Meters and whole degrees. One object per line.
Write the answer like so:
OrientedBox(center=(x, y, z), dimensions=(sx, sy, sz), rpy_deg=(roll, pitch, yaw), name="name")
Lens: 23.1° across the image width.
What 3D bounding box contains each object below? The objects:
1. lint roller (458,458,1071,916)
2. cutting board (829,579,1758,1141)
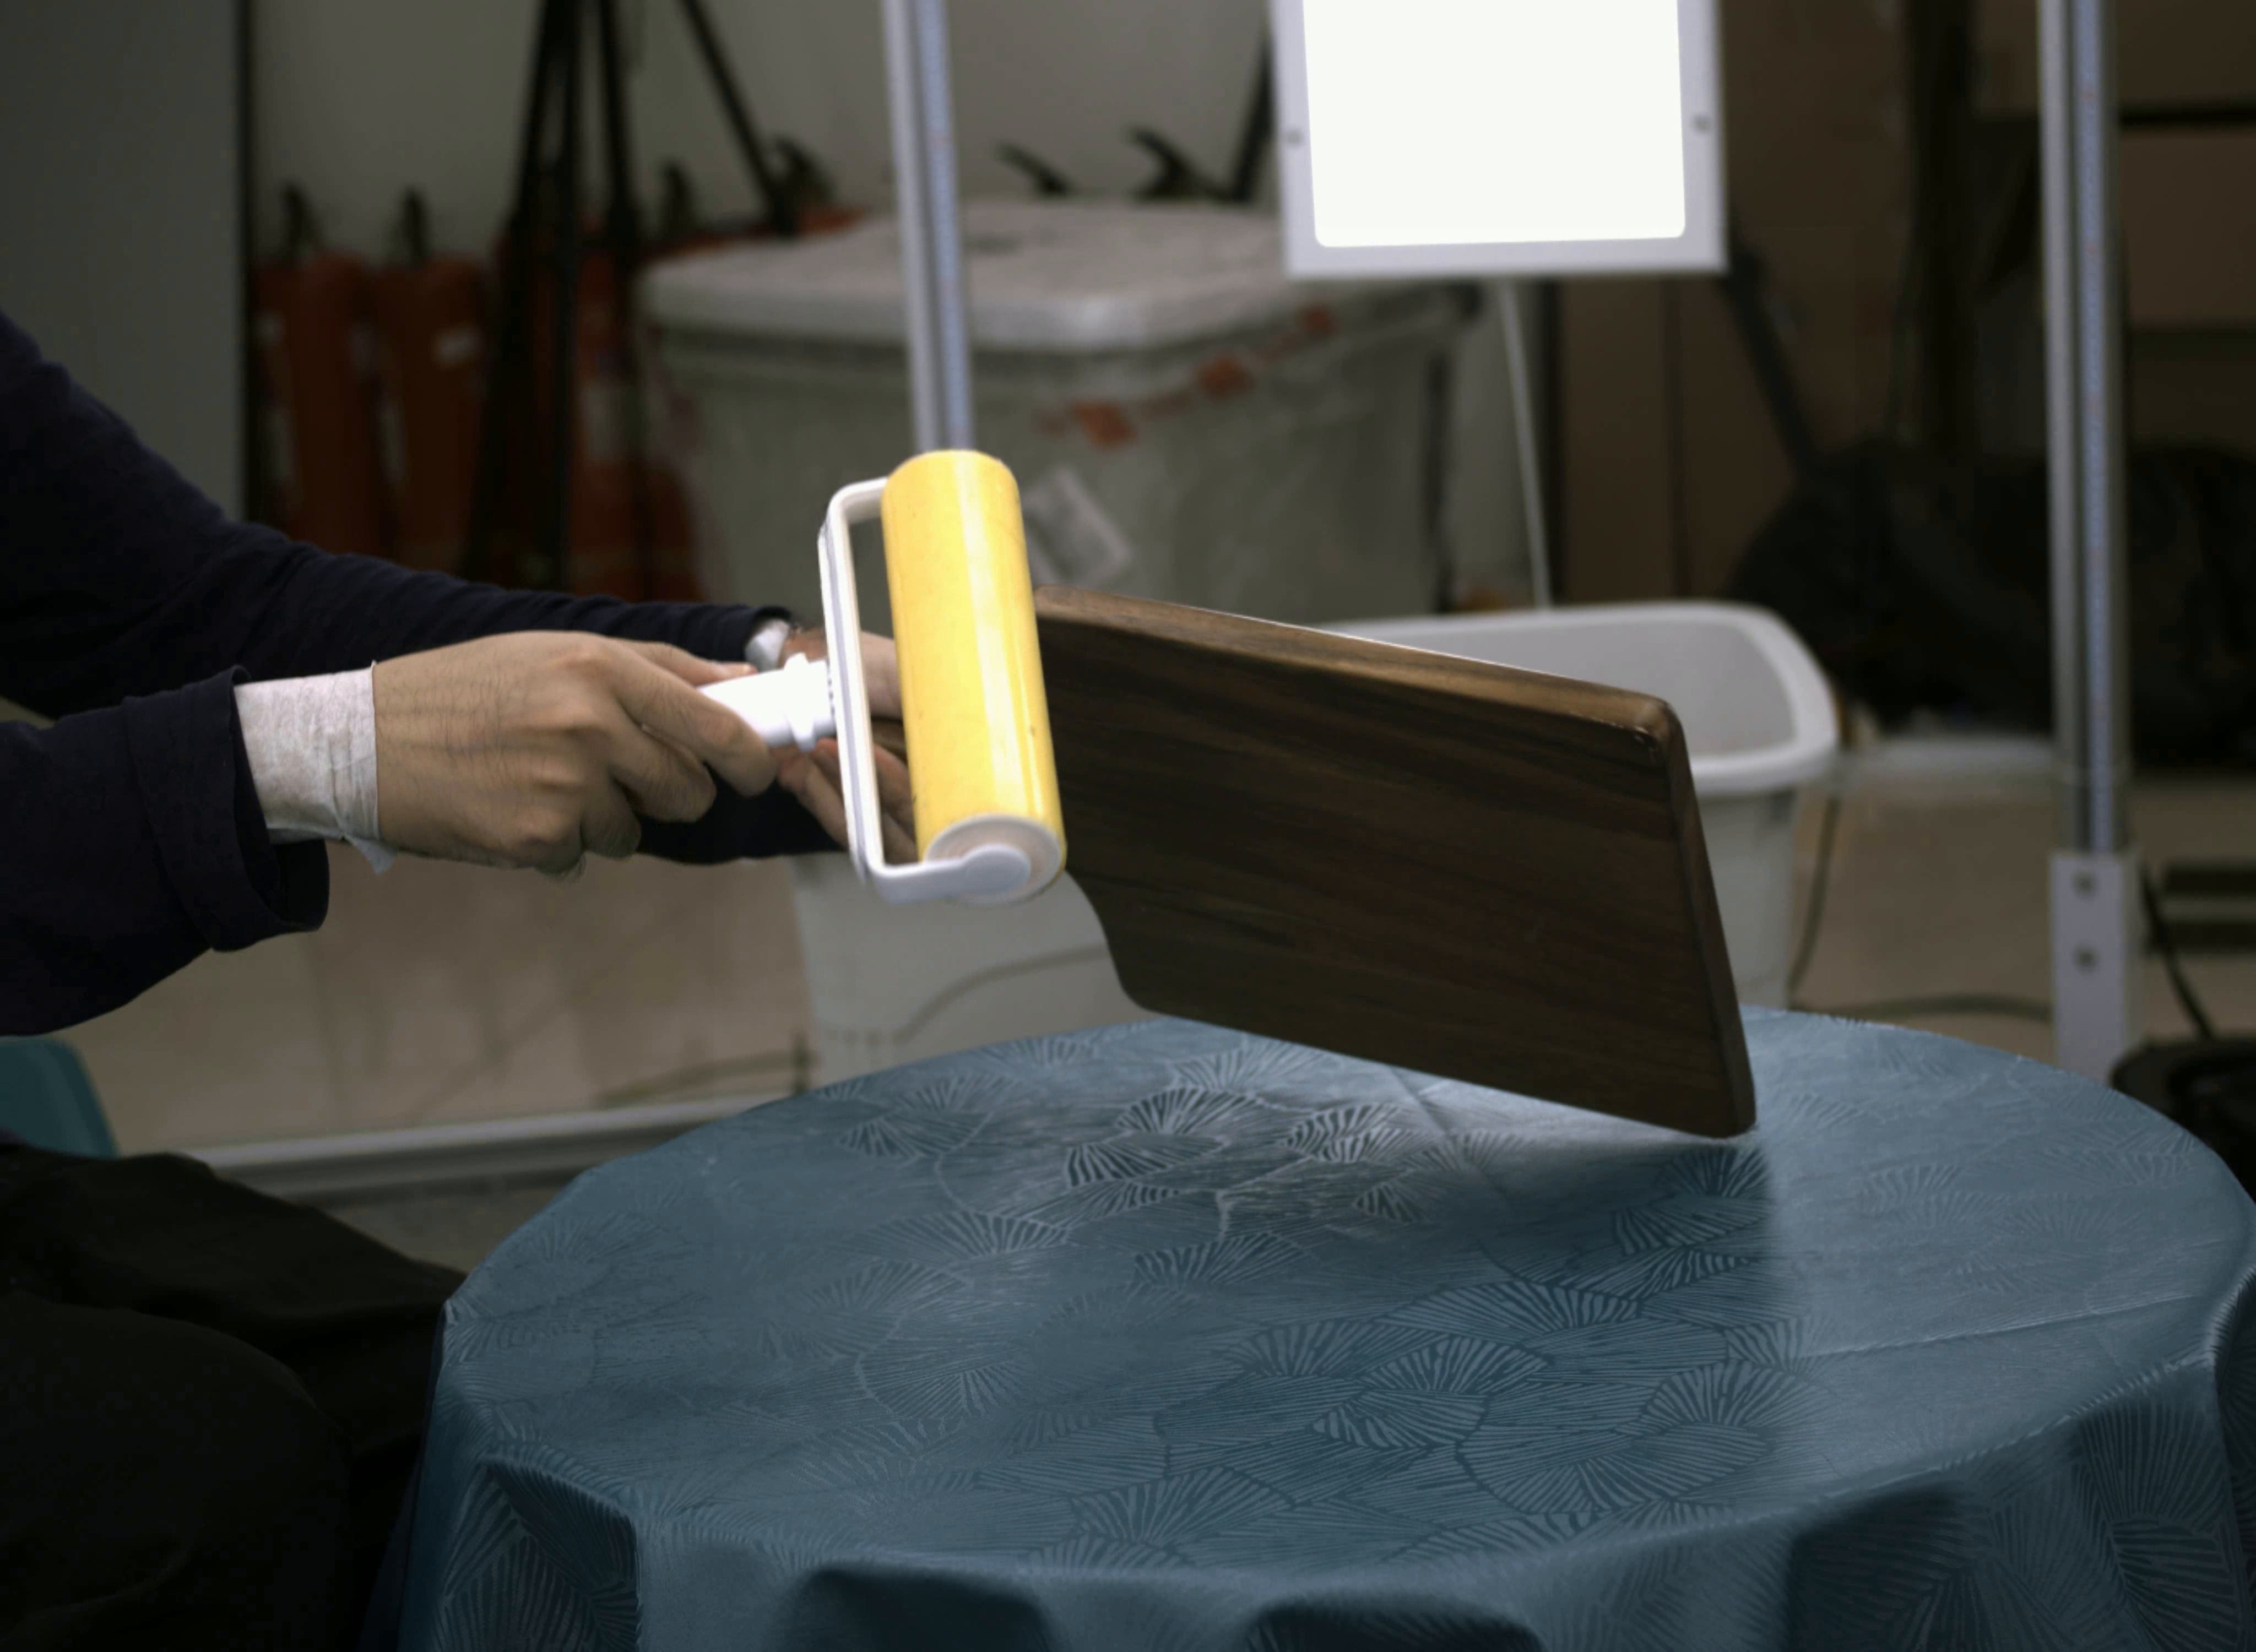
OrientedBox(center=(-0.122, -0.039, 1.784), dimensions=(0.191, 0.051, 0.174), rpy_deg=(-5, 50, -4), name="lint roller")
OrientedBox(center=(0.048, 0.003, 1.925), dimensions=(0.358, 0.200, 0.023), rpy_deg=(12, 48, 30), name="cutting board")
